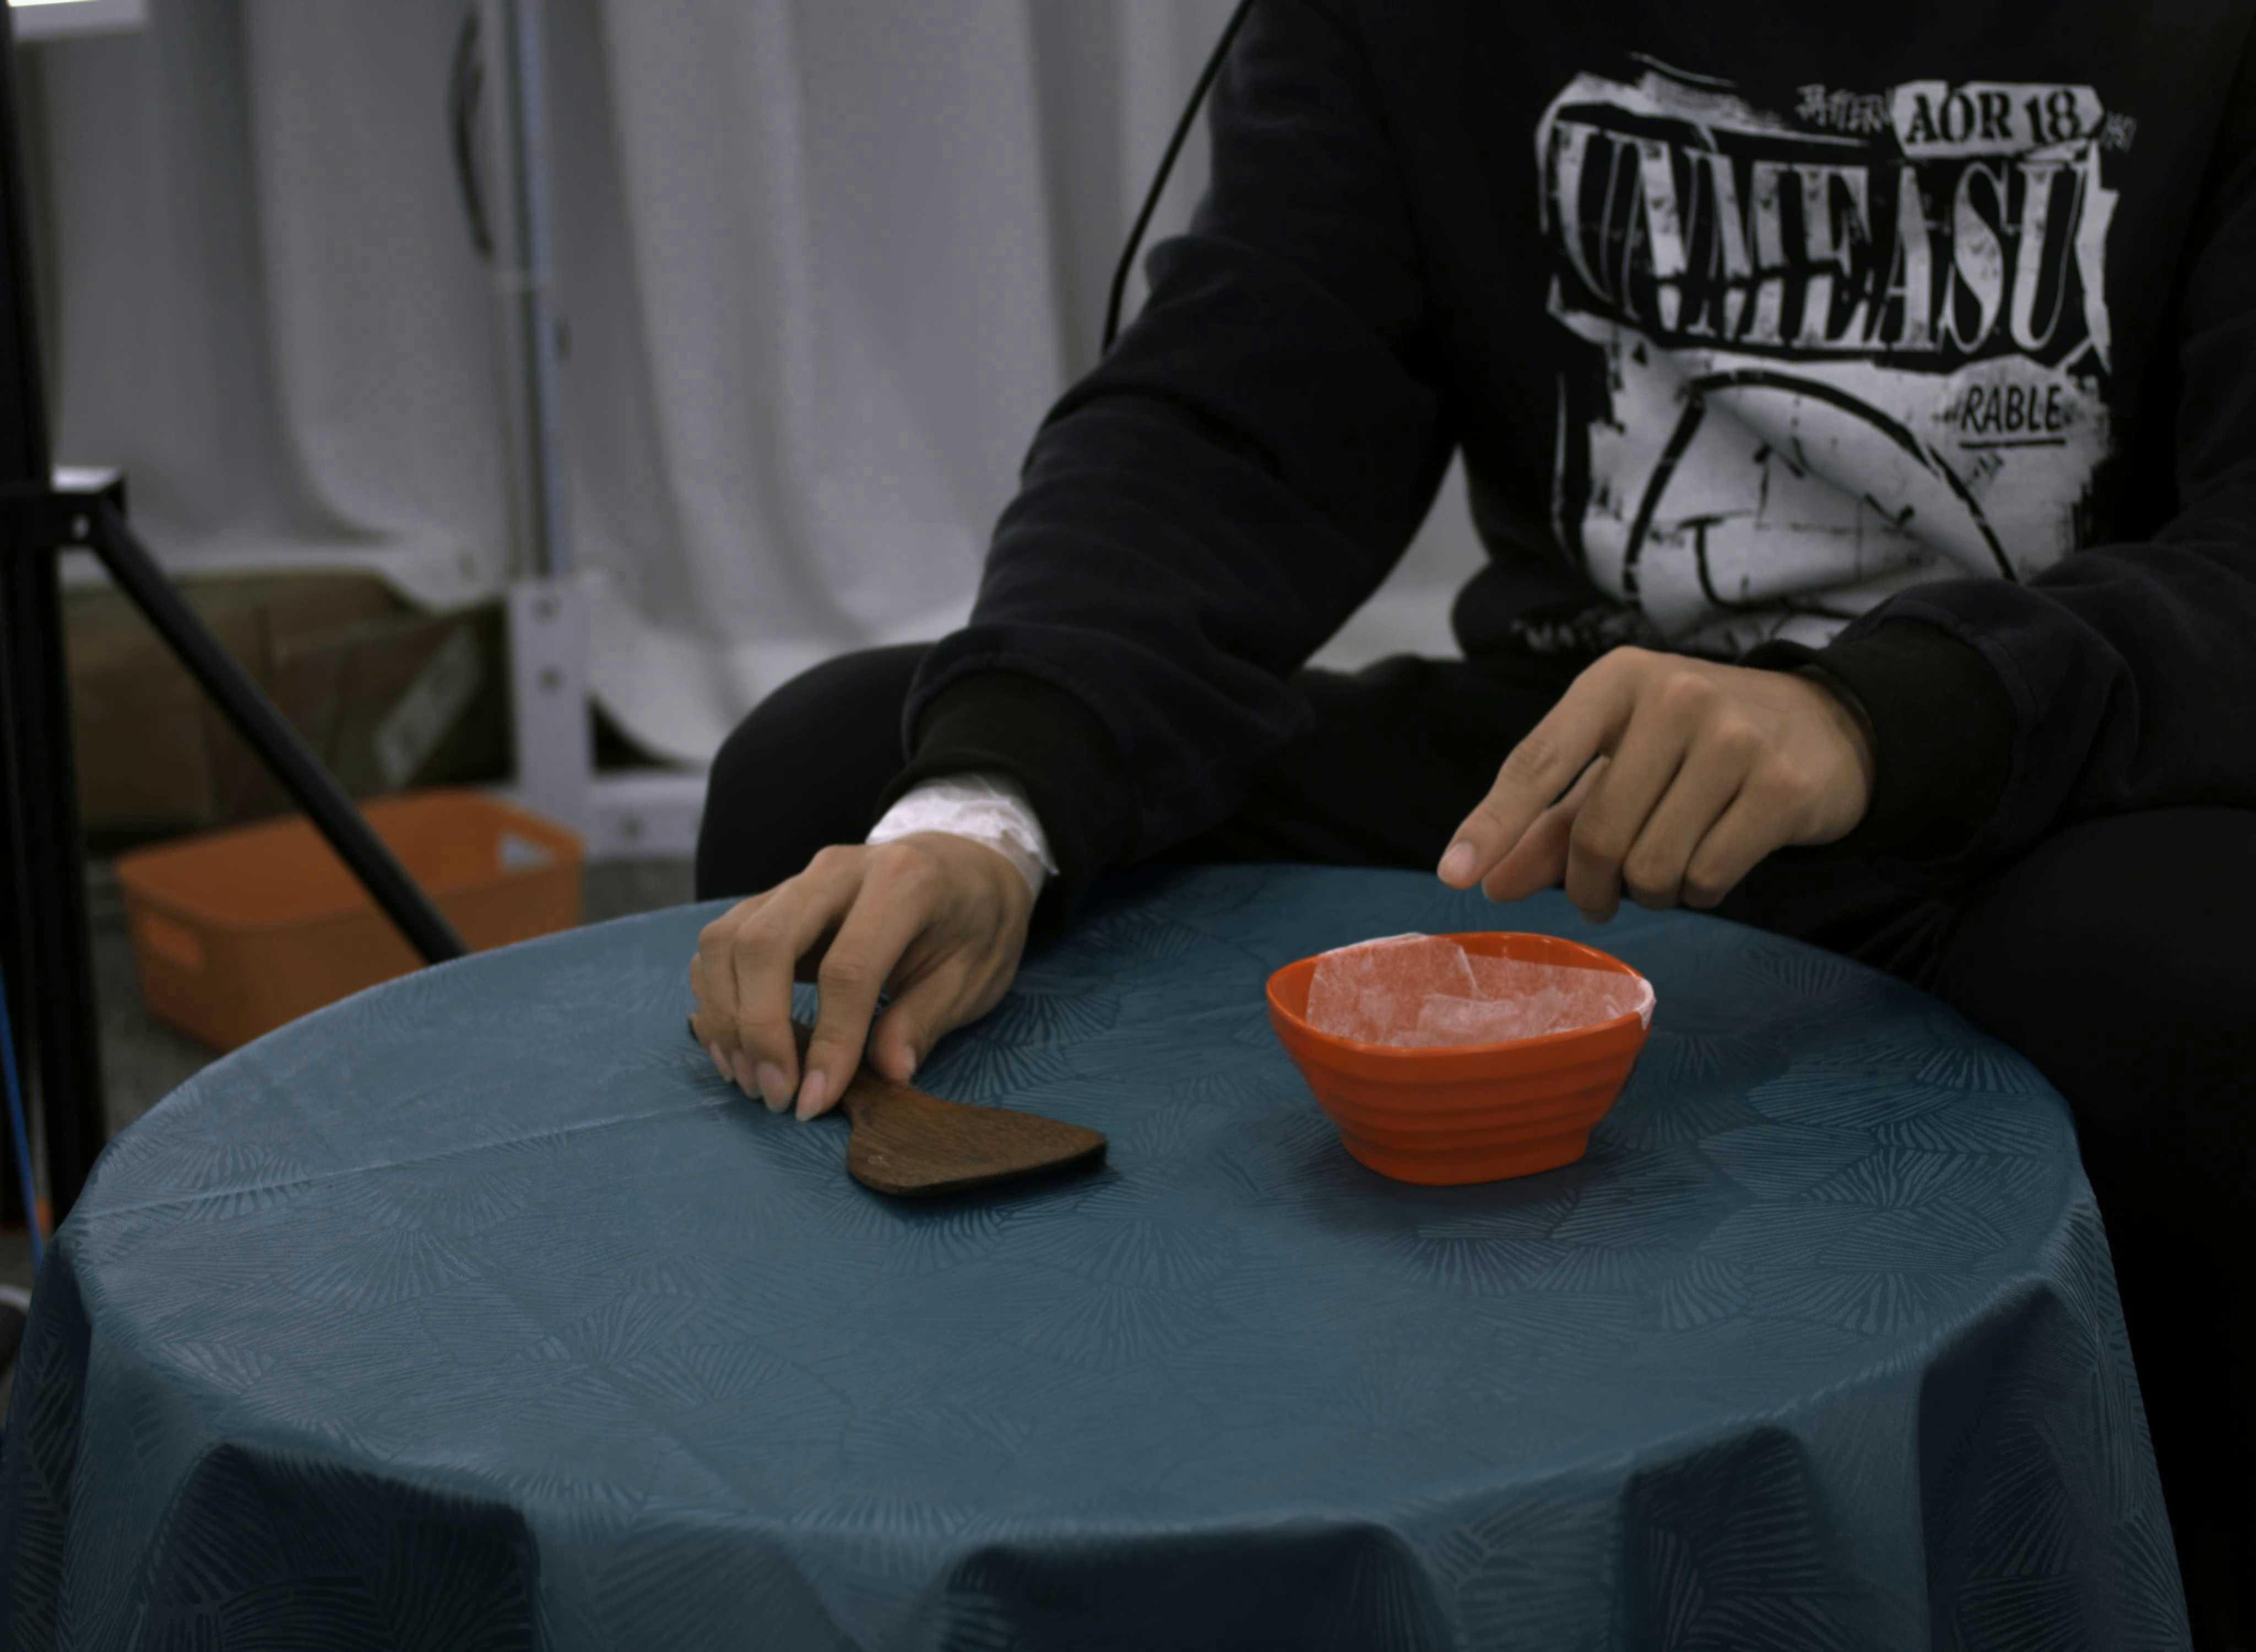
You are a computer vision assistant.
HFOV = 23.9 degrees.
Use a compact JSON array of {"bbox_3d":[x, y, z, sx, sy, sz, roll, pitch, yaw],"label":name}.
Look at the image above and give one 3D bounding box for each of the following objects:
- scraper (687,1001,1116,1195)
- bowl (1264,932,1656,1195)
[{"bbox_3d":[-0.082,0.083,1.647,0.074,0.011,0.216,-10,17,-27],"label":"scraper"},{"bbox_3d":[0.100,0.073,1.576,0.118,0.051,0.119,-4,16,0],"label":"bowl"}]
